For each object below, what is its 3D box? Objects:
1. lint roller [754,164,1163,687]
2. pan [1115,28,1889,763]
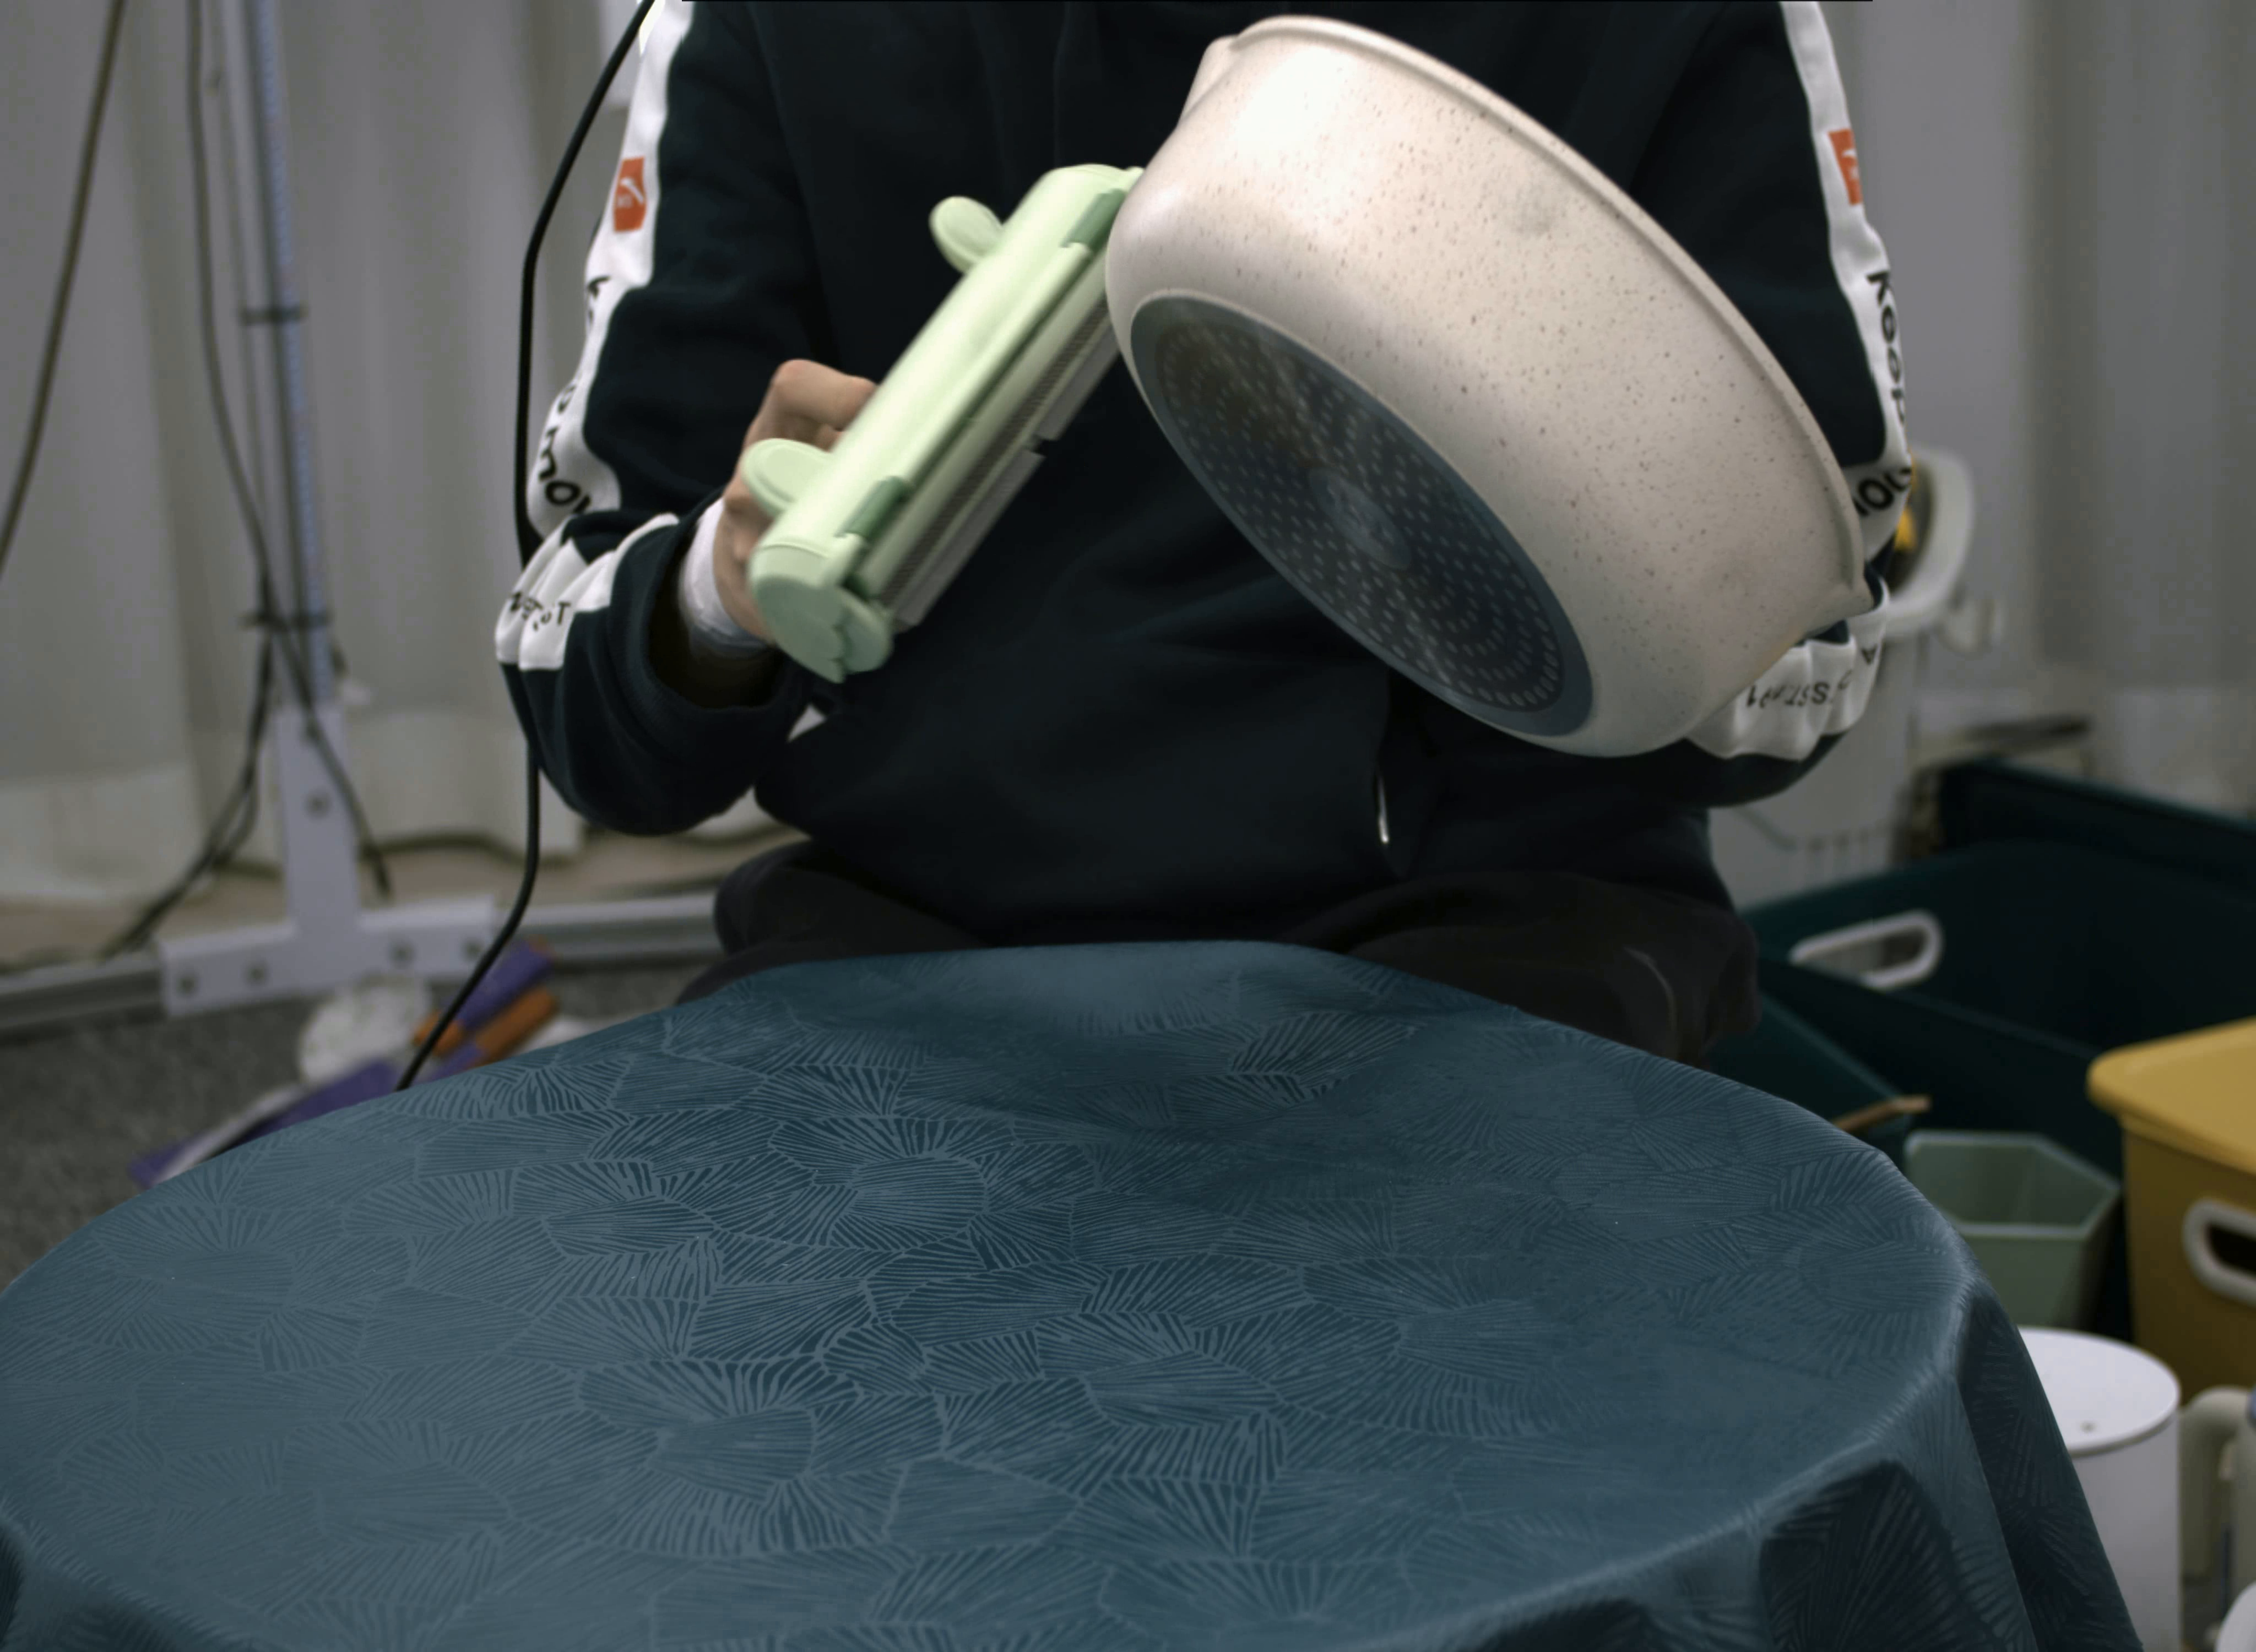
[{"bbox_3d":[-0.082,-0.125,1.816,0.183,0.081,0.200,-23,28,57],"label":"lint roller"},{"bbox_3d":[0.100,-0.095,1.722,0.264,0.102,0.431,39,-16,10],"label":"pan"}]
